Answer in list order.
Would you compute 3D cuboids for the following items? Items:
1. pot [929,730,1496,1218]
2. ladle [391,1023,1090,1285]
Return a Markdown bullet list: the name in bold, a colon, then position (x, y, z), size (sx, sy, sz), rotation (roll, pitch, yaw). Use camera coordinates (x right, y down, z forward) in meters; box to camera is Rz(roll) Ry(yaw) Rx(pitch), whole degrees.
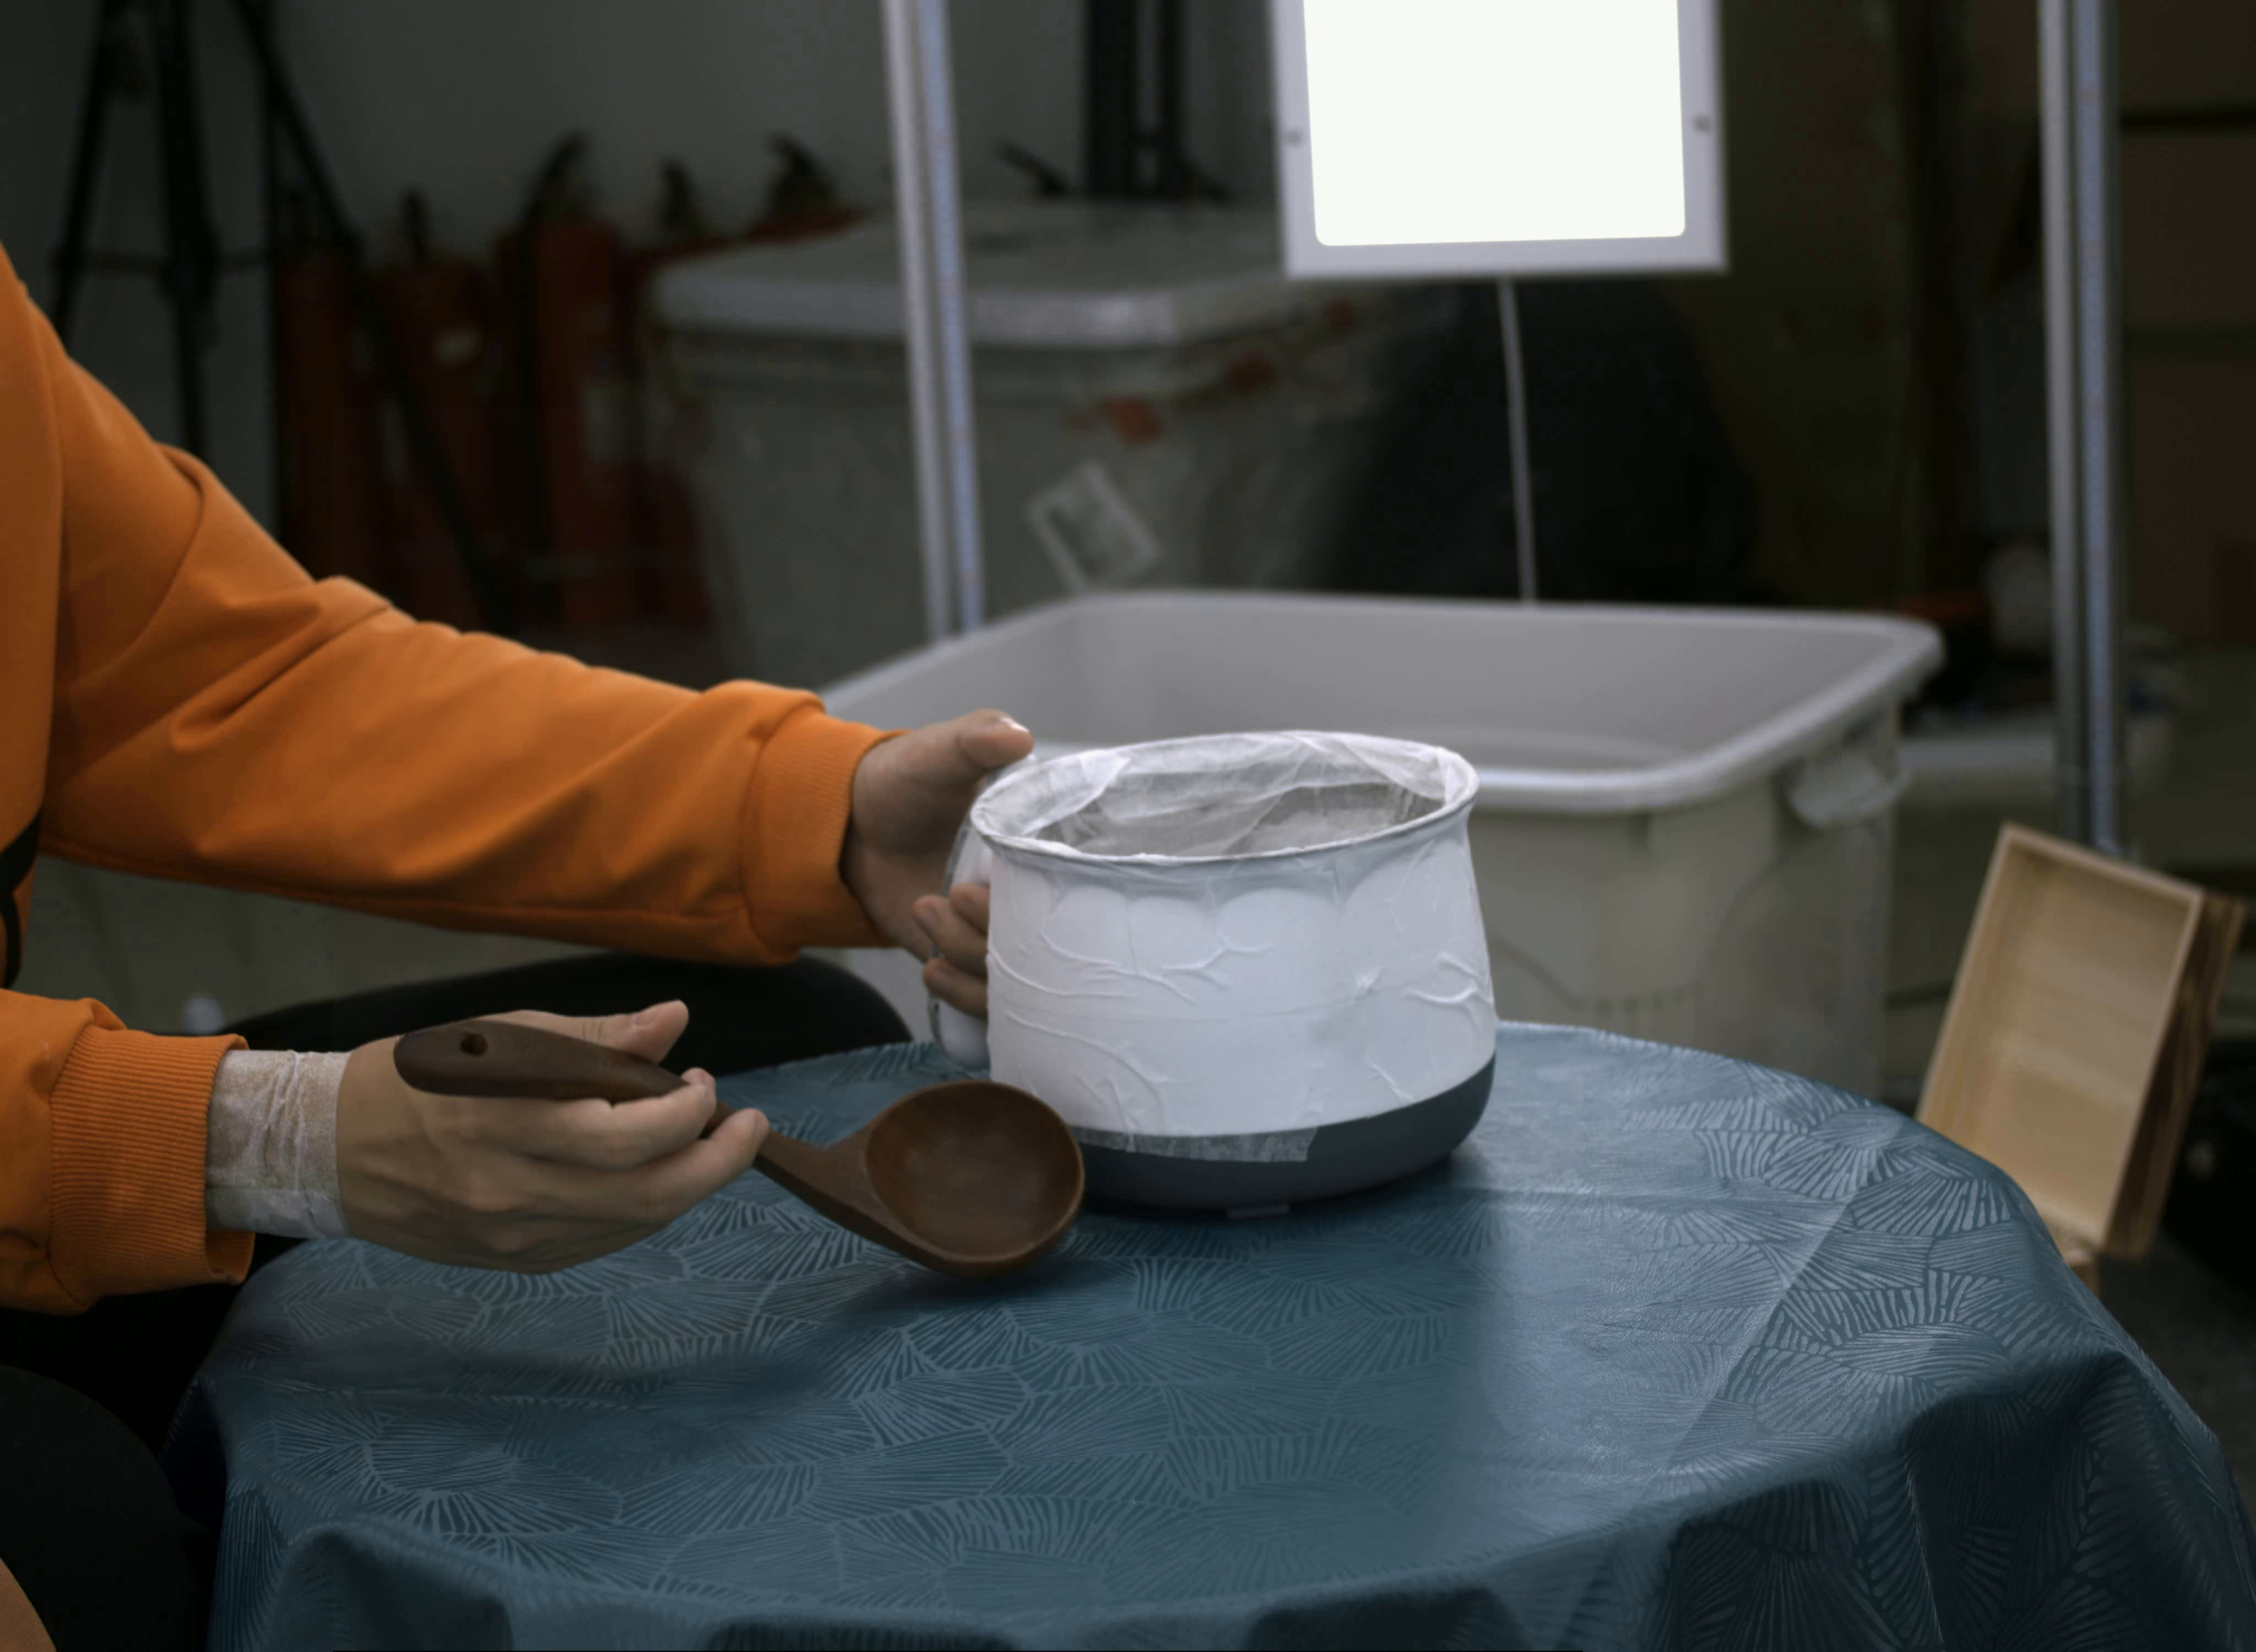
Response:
- **pot**: position (0.018, 0.046, 1.927), size (0.239, 0.137, 0.174), rotation (9, 19, 43)
- **ladle**: position (-0.118, 0.091, 1.758), size (0.254, 0.066, 0.077), rotation (23, 32, -41)
